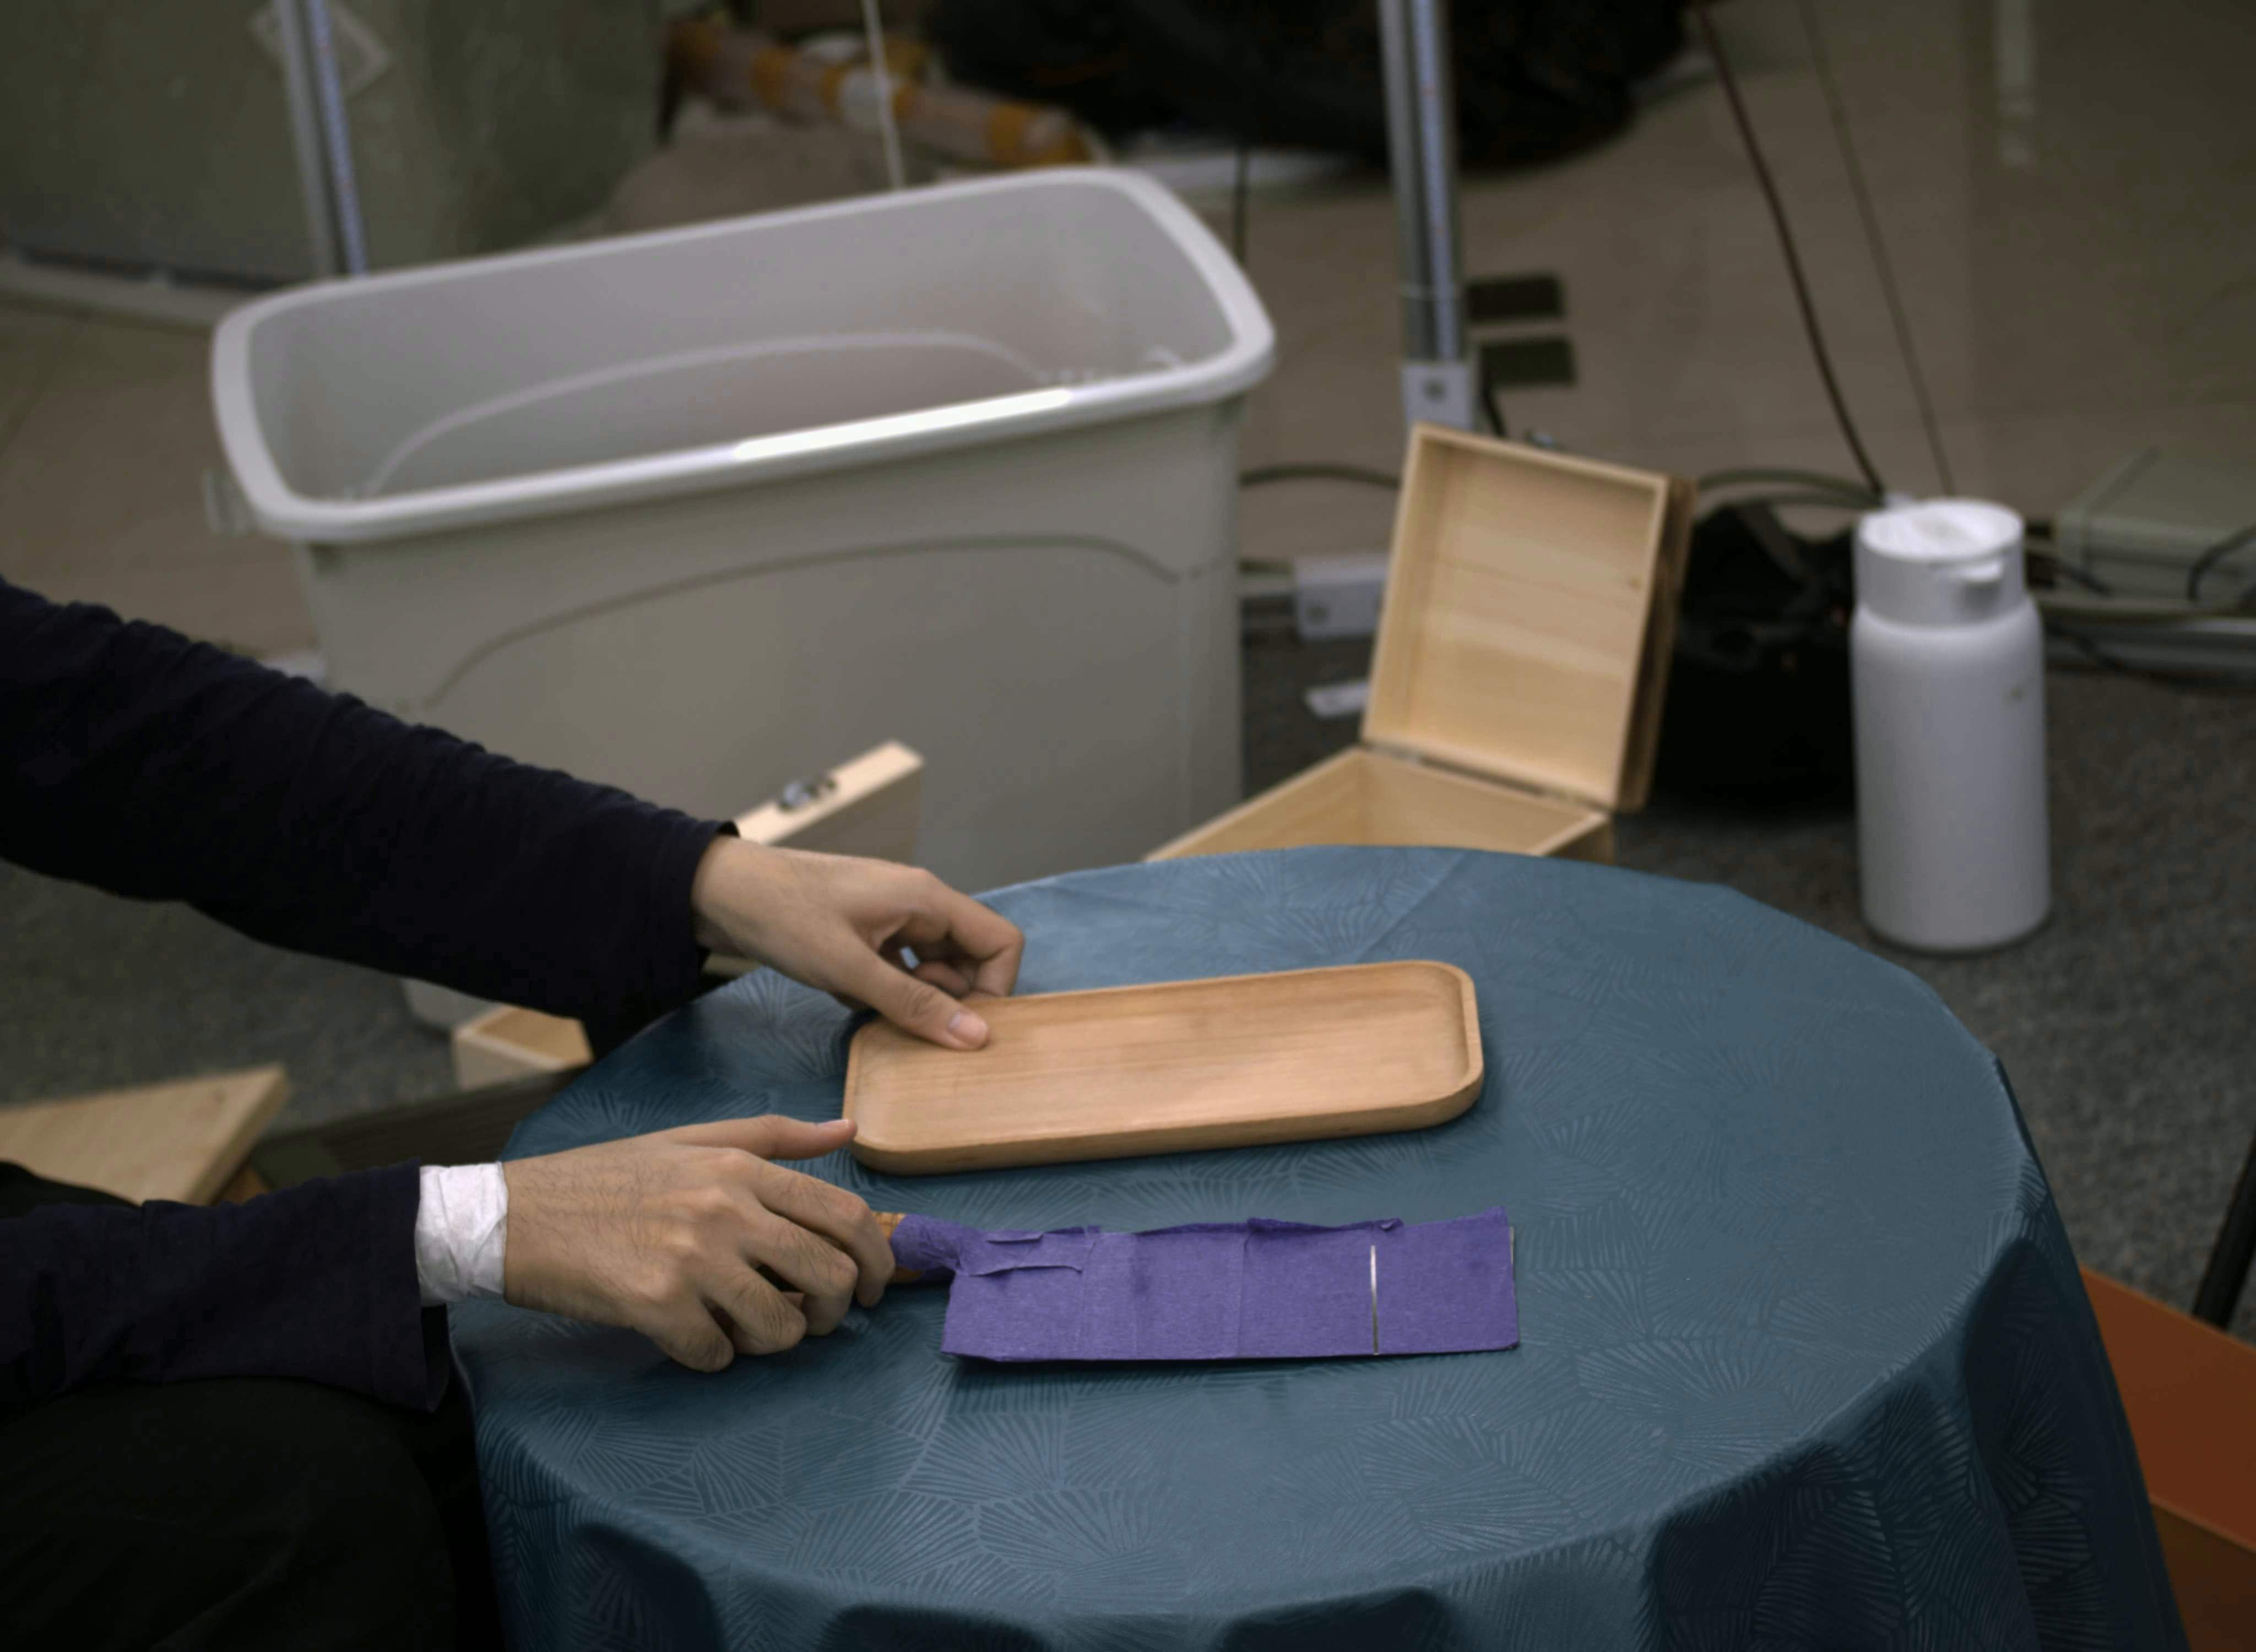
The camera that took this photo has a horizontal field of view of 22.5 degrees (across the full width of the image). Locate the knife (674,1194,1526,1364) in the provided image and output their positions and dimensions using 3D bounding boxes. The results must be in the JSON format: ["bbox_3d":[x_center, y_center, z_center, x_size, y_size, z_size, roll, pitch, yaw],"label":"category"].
[{"bbox_3d":[-0.013,0.165,2.066,0.315,0.033,0.102,-4,25,5],"label":"knife"}]

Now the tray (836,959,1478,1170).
[{"bbox_3d":[0.013,0.094,2.226,0.250,0.023,0.129,-5,22,6],"label":"tray"}]
